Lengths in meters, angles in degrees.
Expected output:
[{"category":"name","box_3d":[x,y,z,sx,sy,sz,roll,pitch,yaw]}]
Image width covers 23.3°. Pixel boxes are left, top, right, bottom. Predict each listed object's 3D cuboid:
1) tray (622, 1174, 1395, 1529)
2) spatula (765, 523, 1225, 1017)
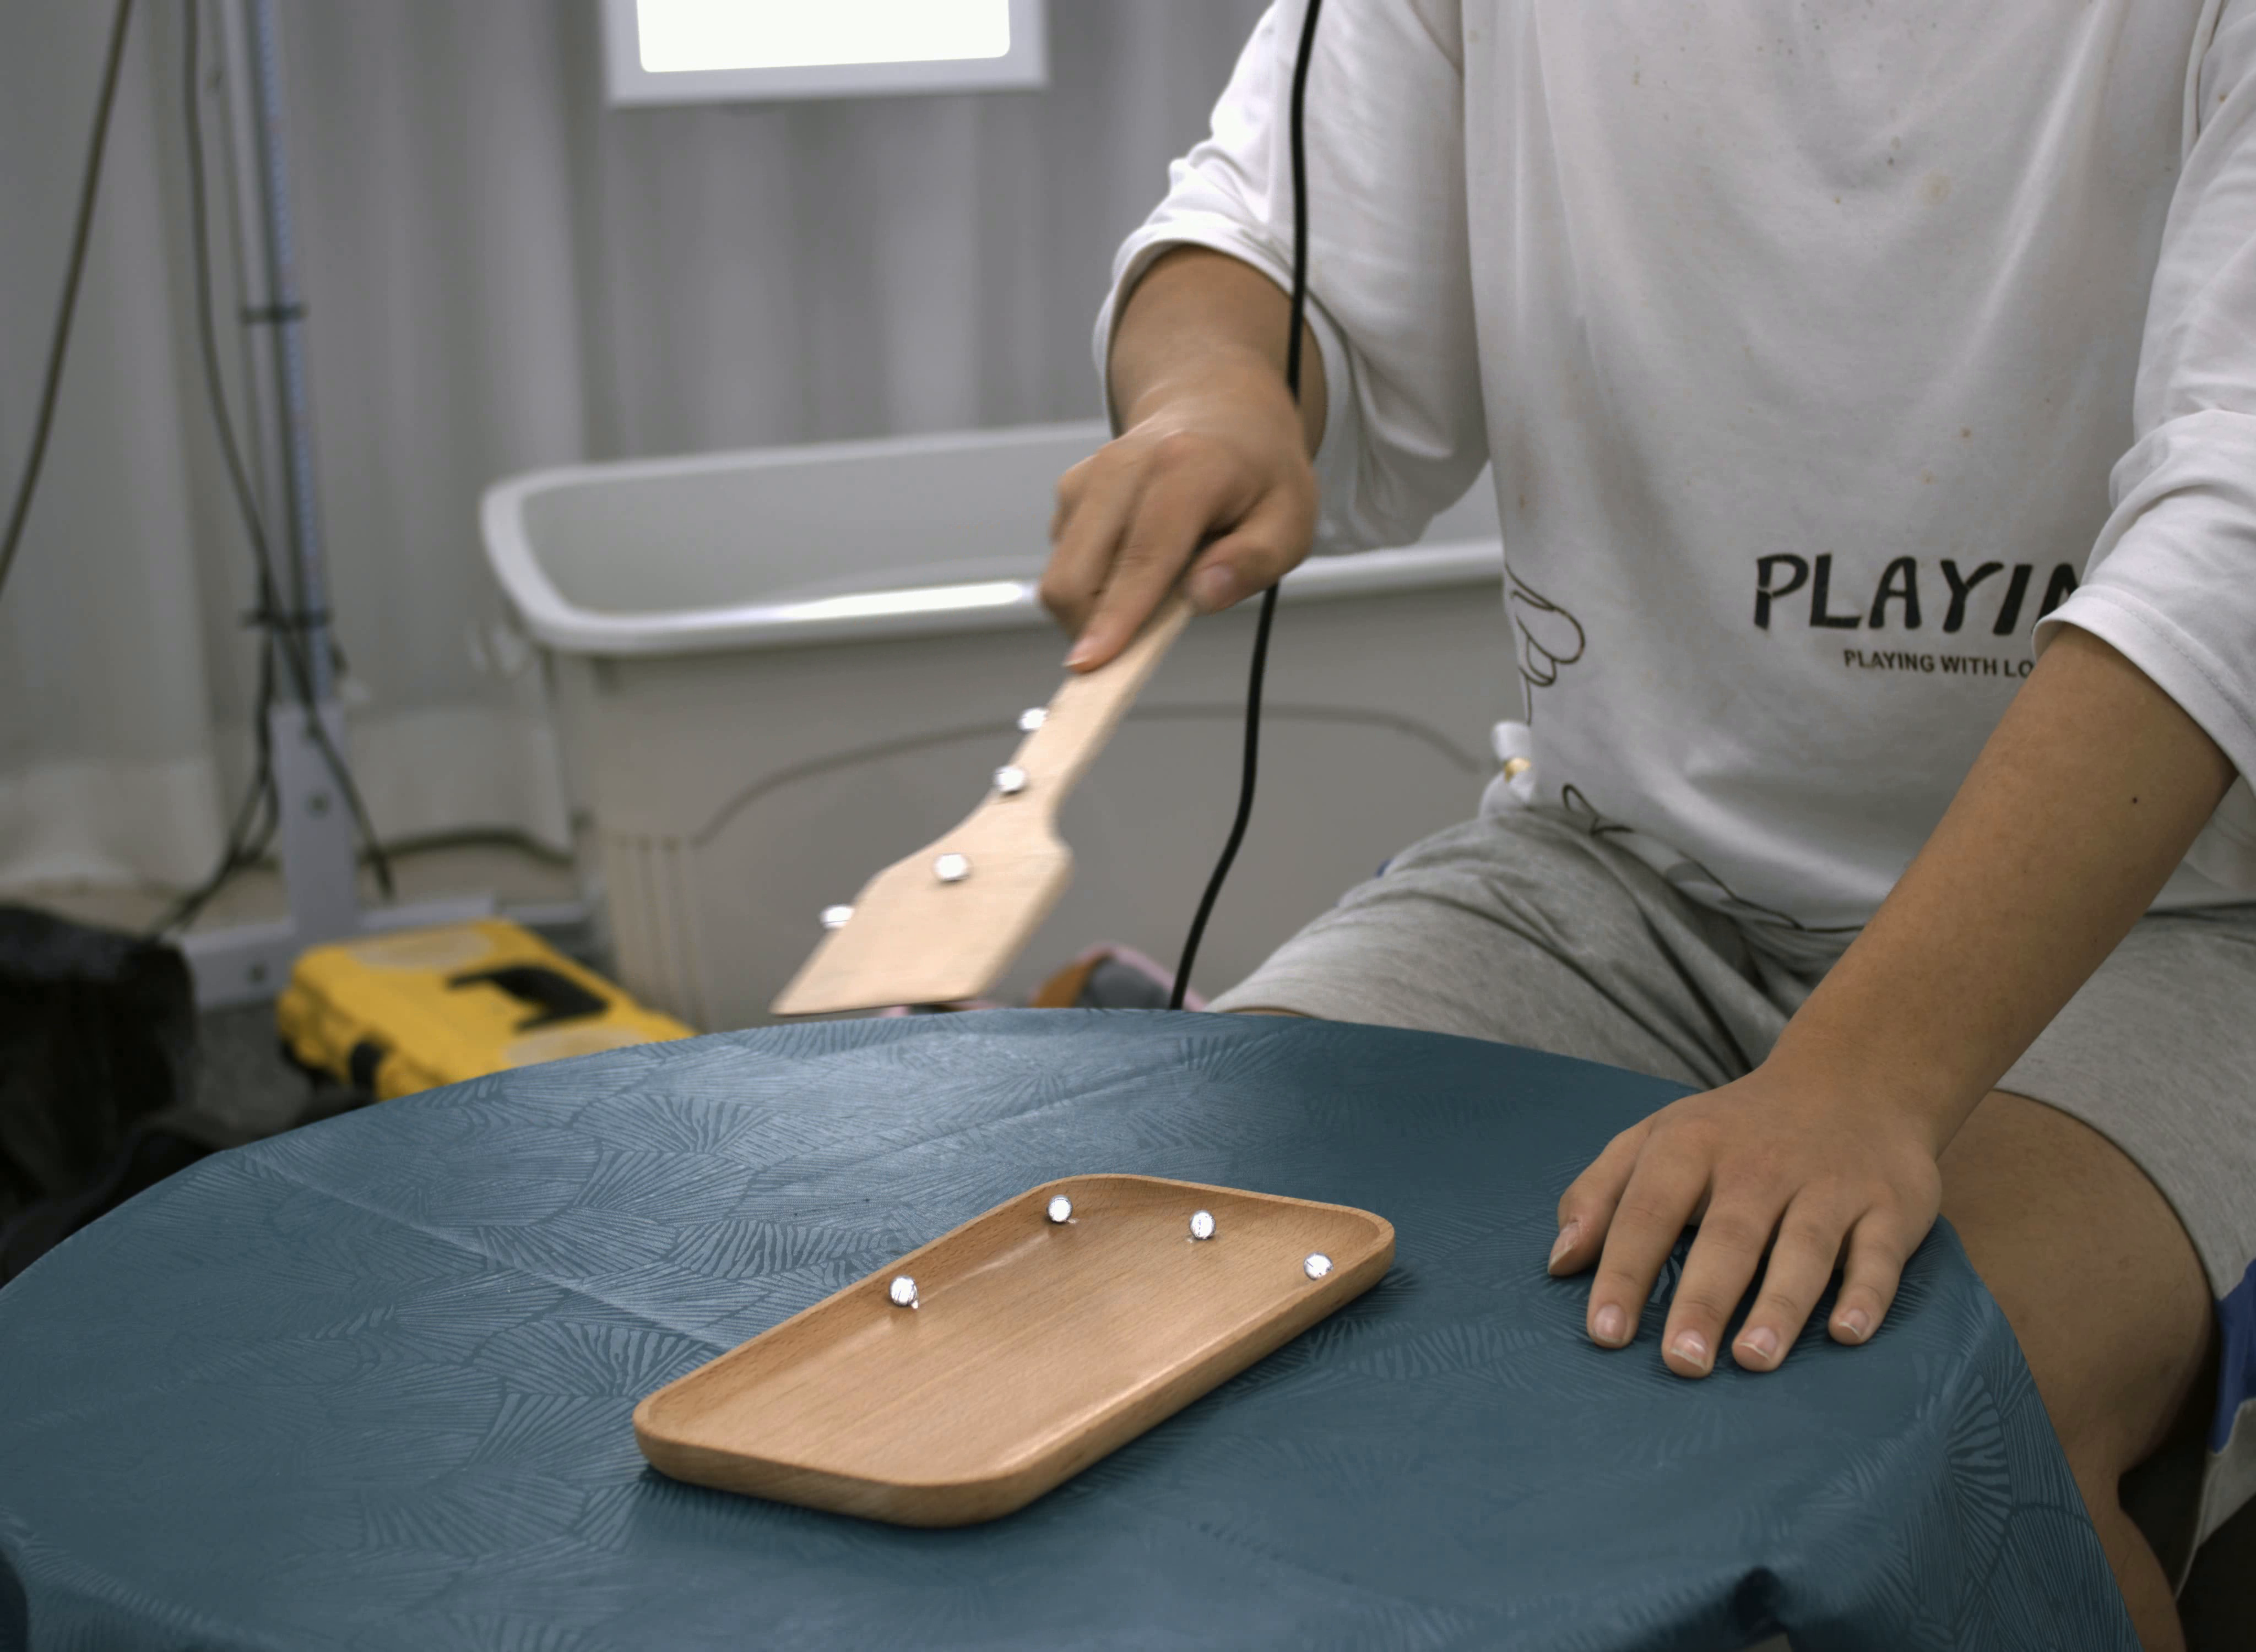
[{"category":"tray","box_3d":[-0.030,0.148,1.567,0.131,0.023,0.251,4,16,33]},{"category":"spatula","box_3d":[-0.029,-0.022,1.730,0.072,0.010,0.296,-7,29,28]}]
